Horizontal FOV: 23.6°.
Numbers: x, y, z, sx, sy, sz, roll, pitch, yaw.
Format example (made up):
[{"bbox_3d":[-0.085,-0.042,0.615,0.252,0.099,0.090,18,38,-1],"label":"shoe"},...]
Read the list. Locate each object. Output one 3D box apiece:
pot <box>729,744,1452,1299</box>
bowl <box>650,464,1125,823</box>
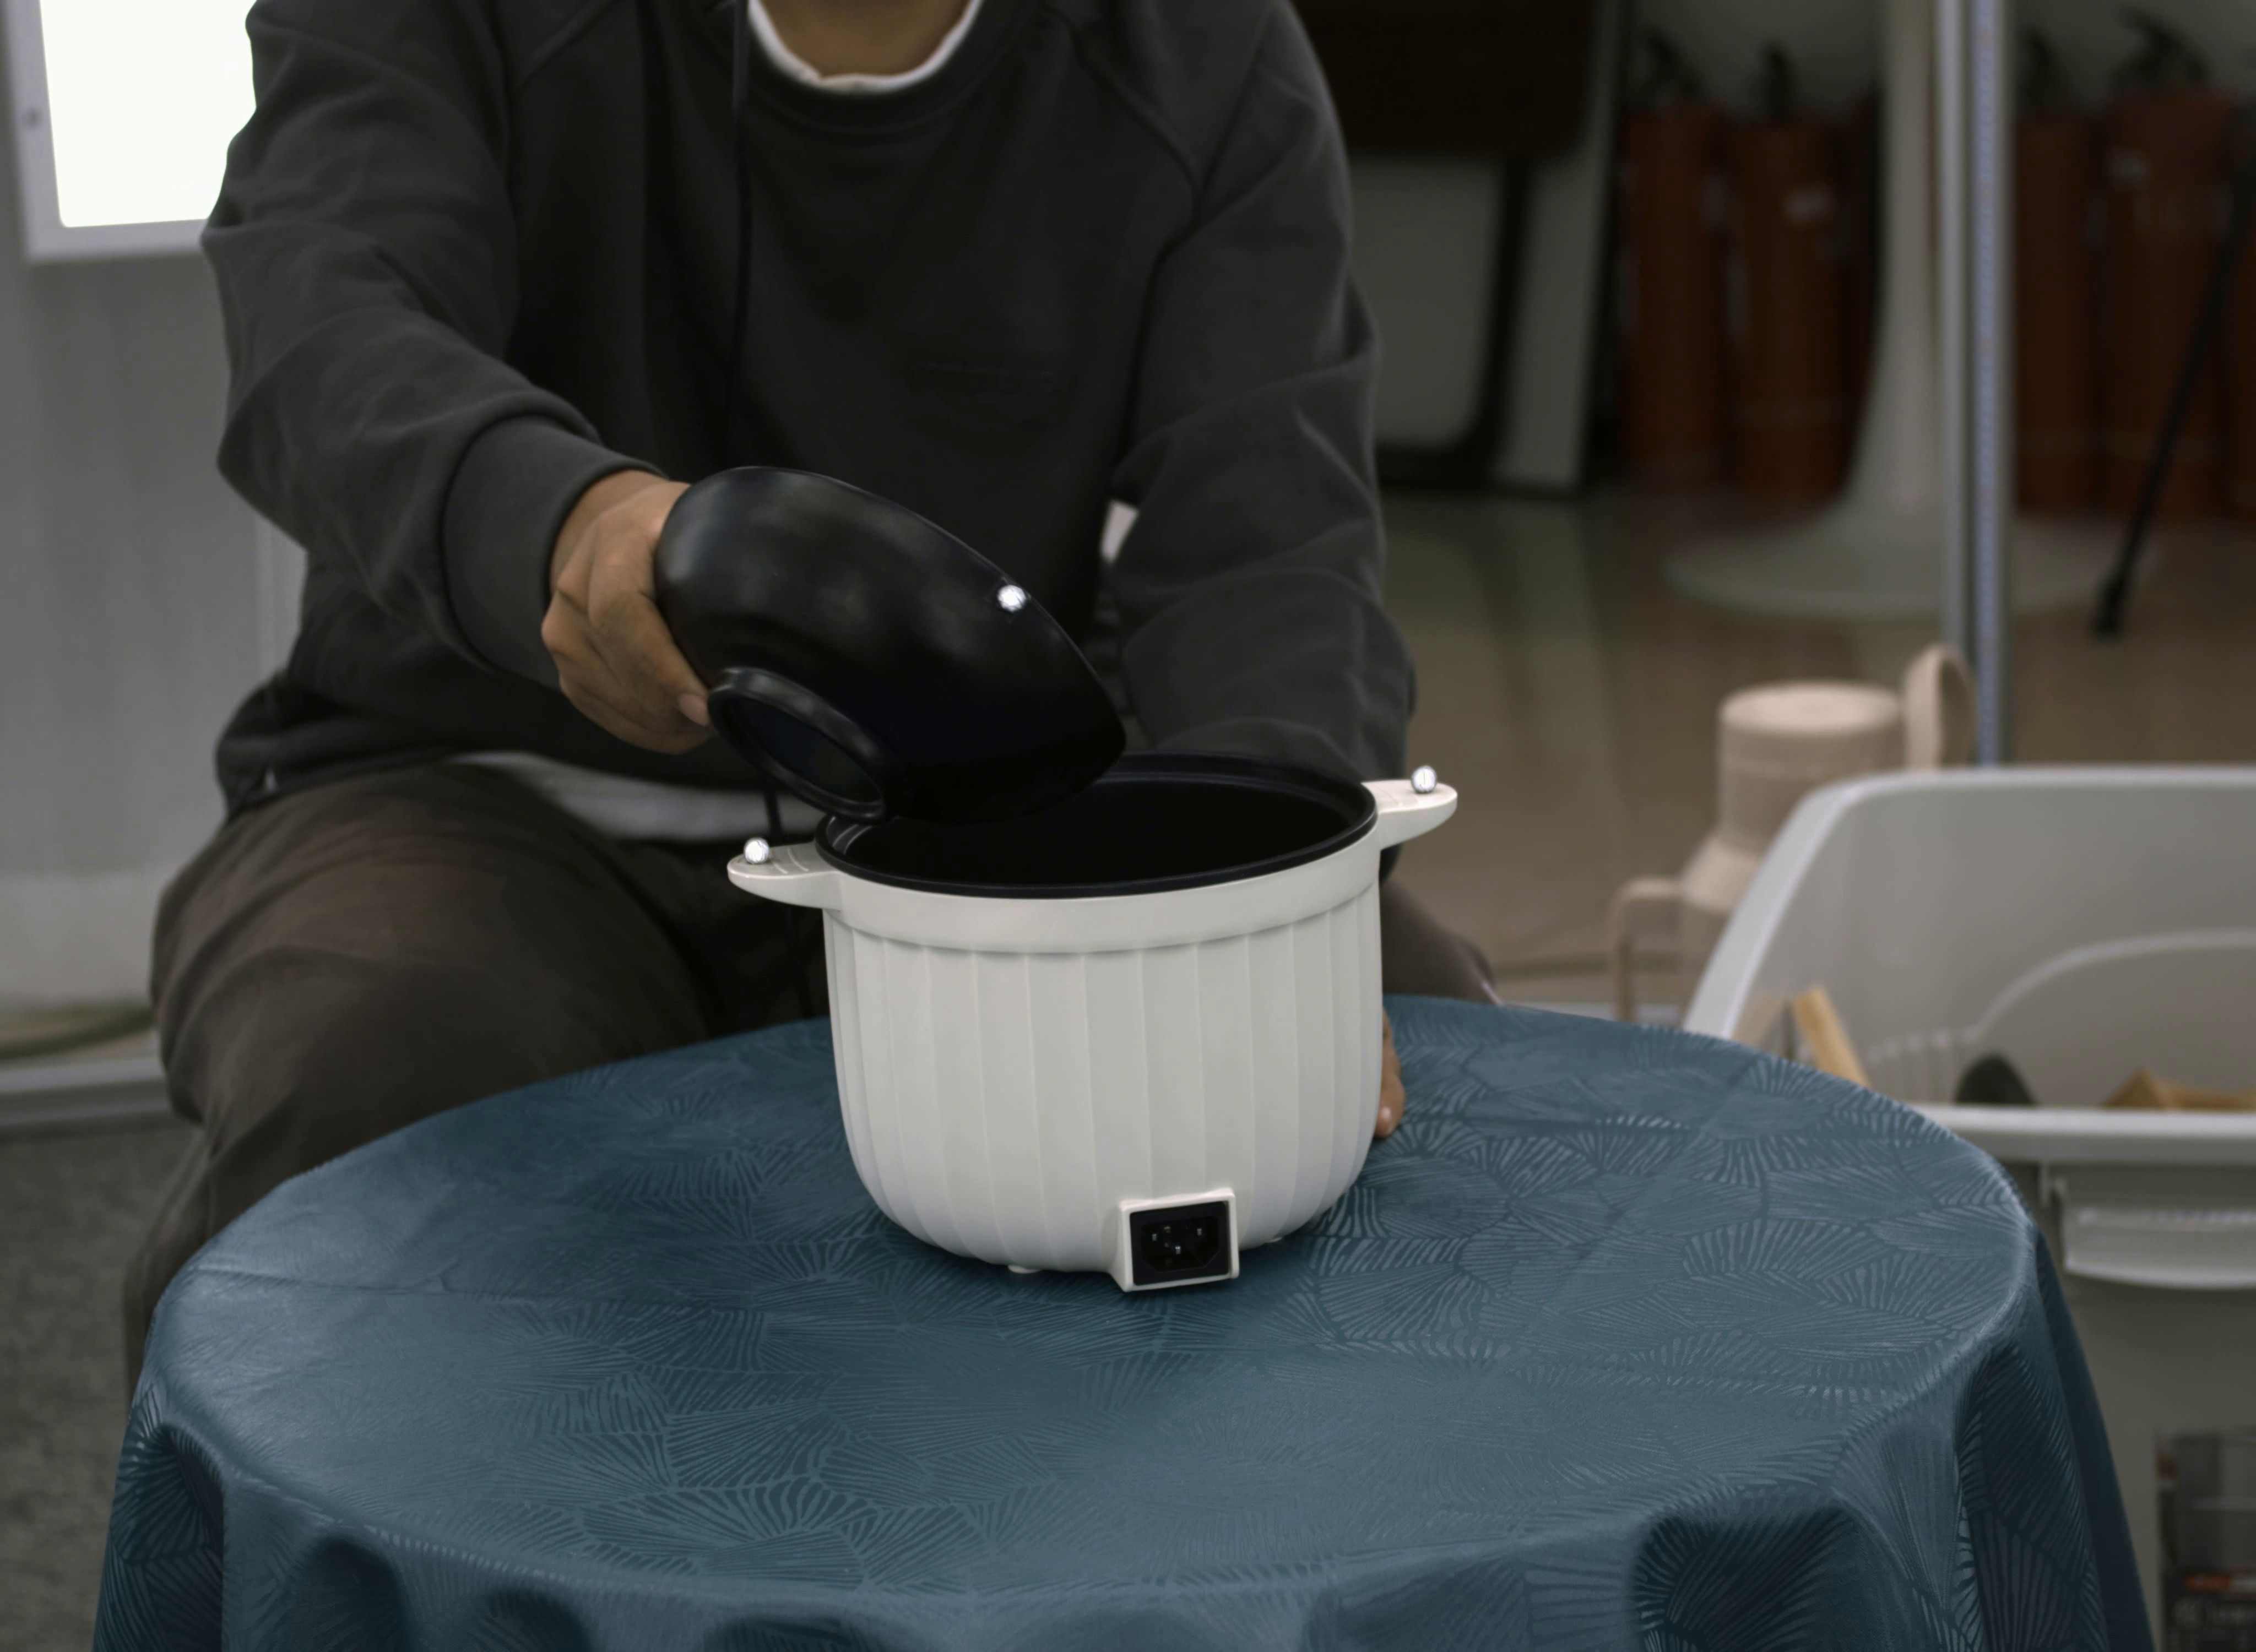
[{"bbox_3d":[-0.009,0.060,1.736,0.236,0.144,0.192,-6,17,-13],"label":"pot"},{"bbox_3d":[-0.086,-0.047,1.684,0.171,0.137,0.067,23,67,24],"label":"bowl"}]
